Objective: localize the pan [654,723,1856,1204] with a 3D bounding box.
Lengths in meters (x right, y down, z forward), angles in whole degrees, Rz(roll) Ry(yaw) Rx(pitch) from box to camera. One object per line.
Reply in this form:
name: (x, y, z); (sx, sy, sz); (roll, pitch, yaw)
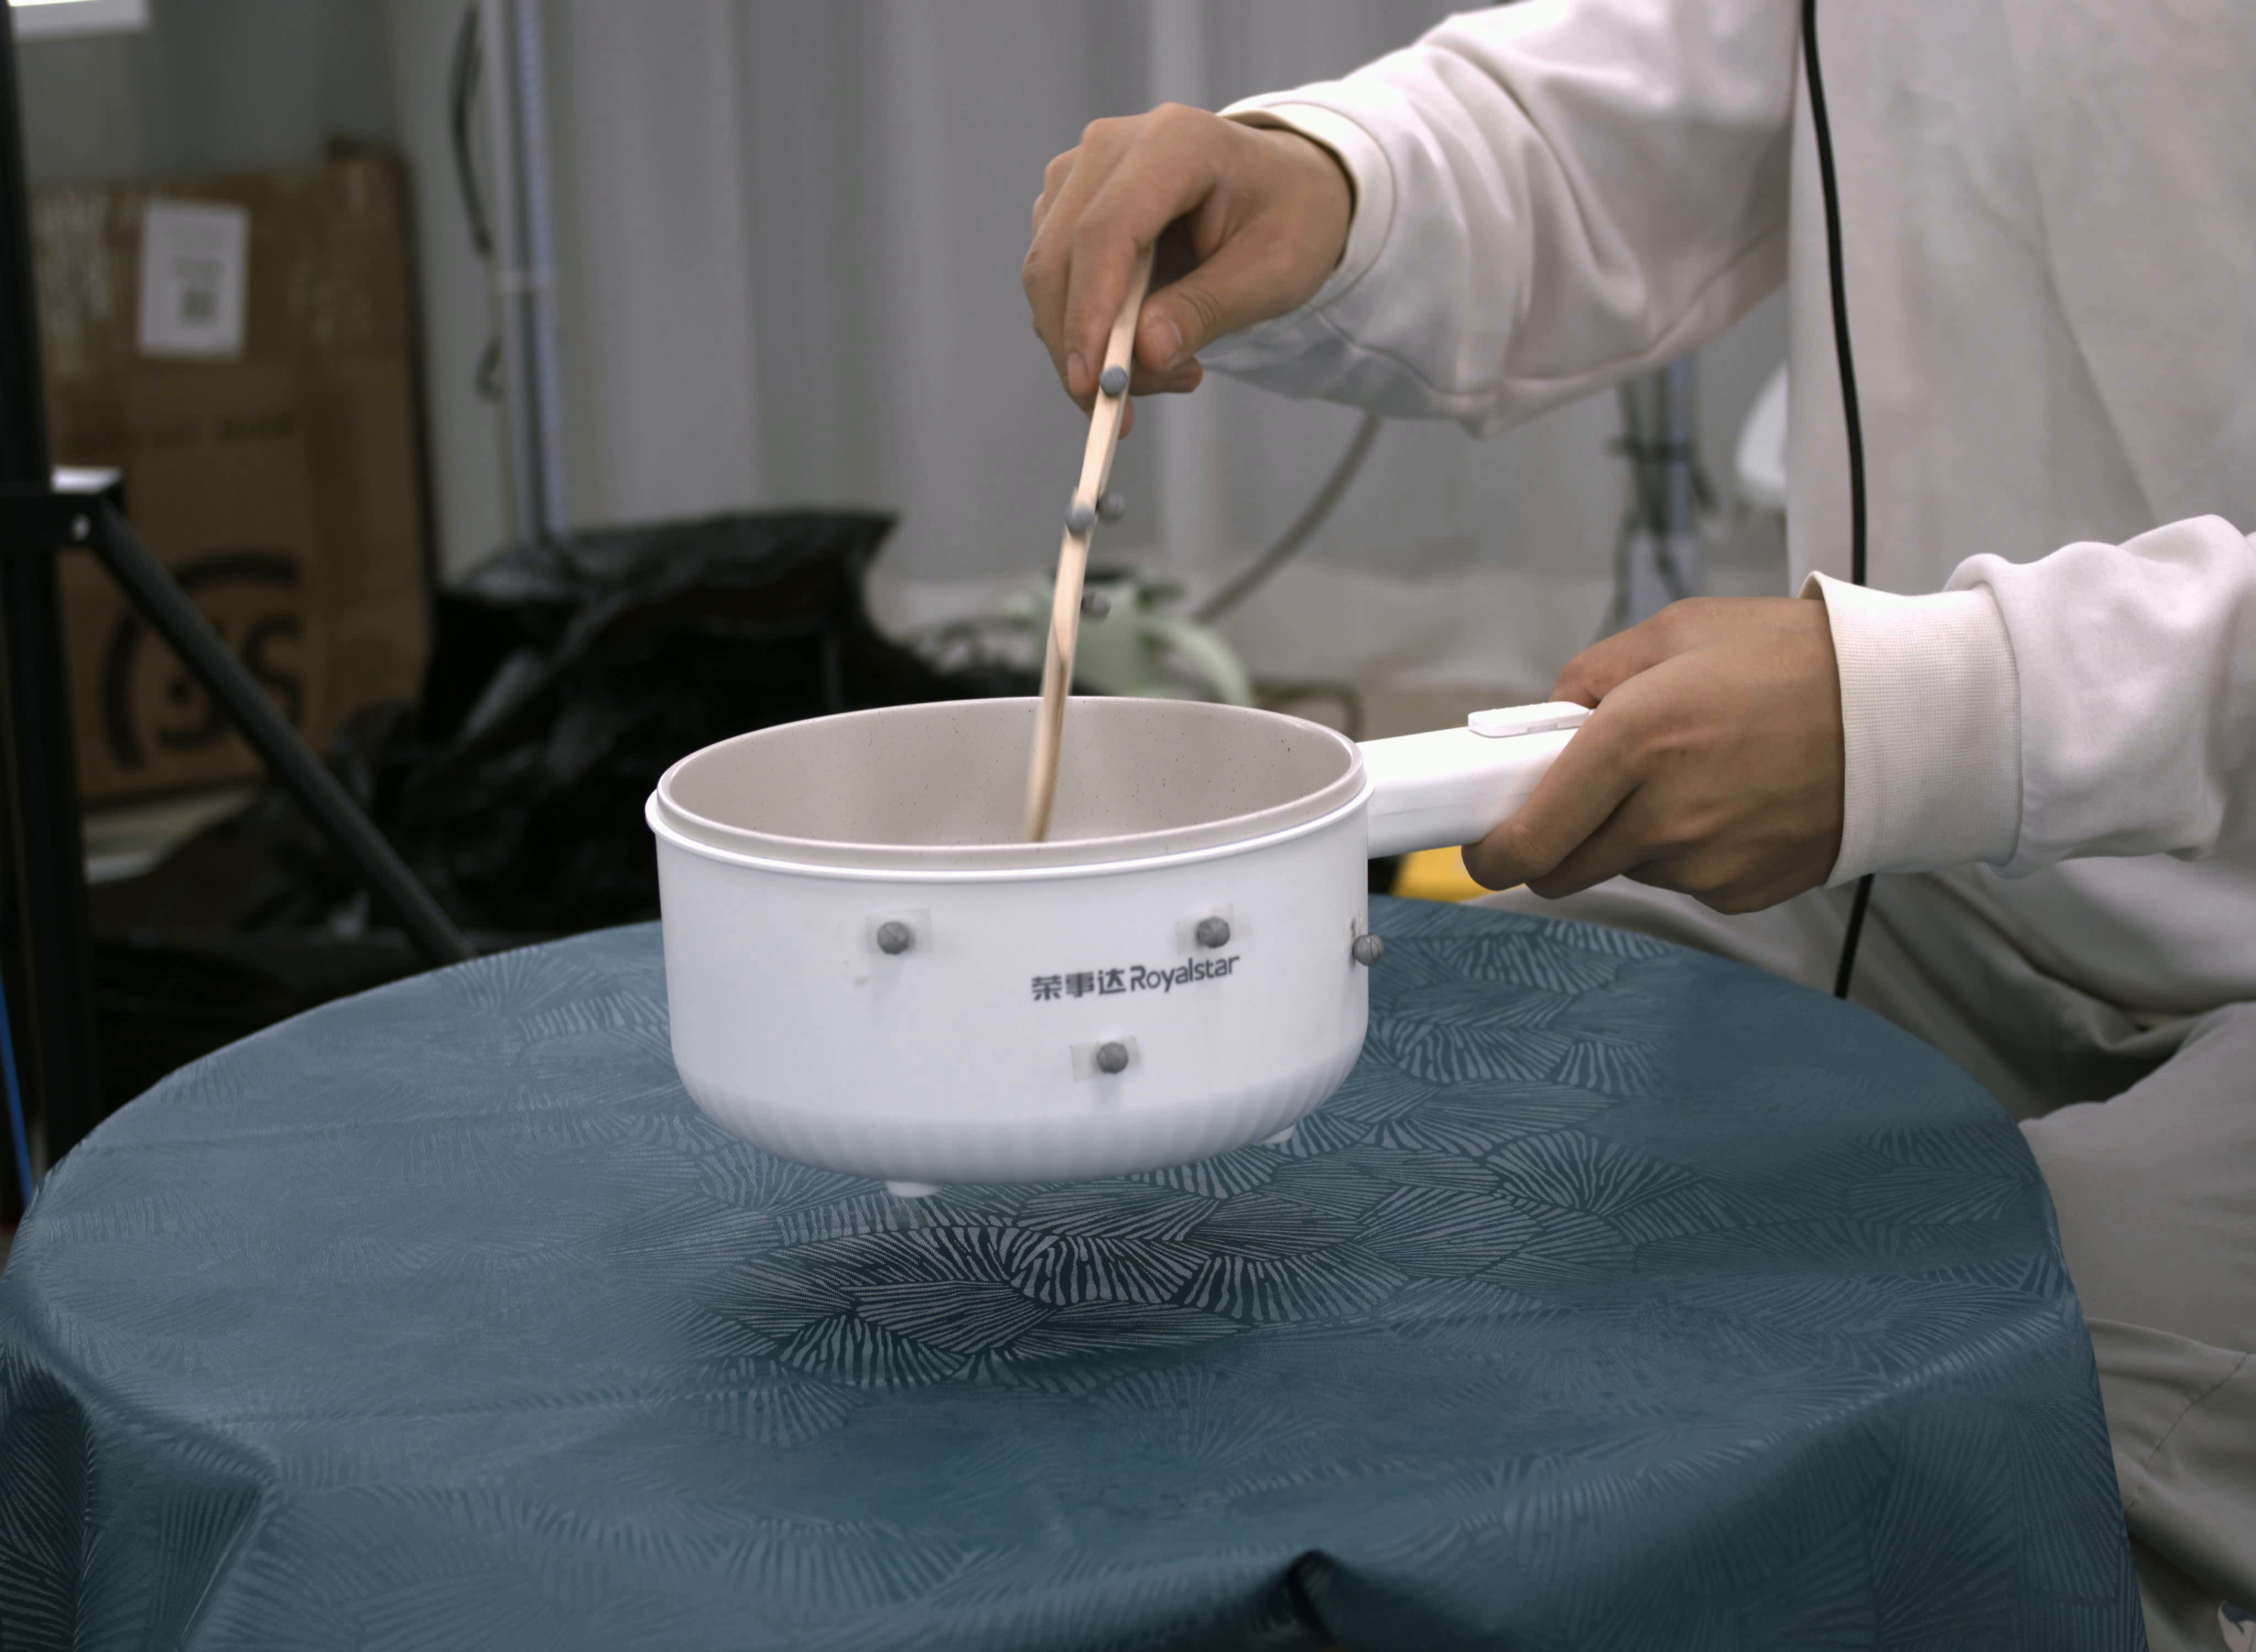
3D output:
pan: (0.041, 0.033, 1.498); (0.348, 0.102, 0.204); (-5, 9, -20)
